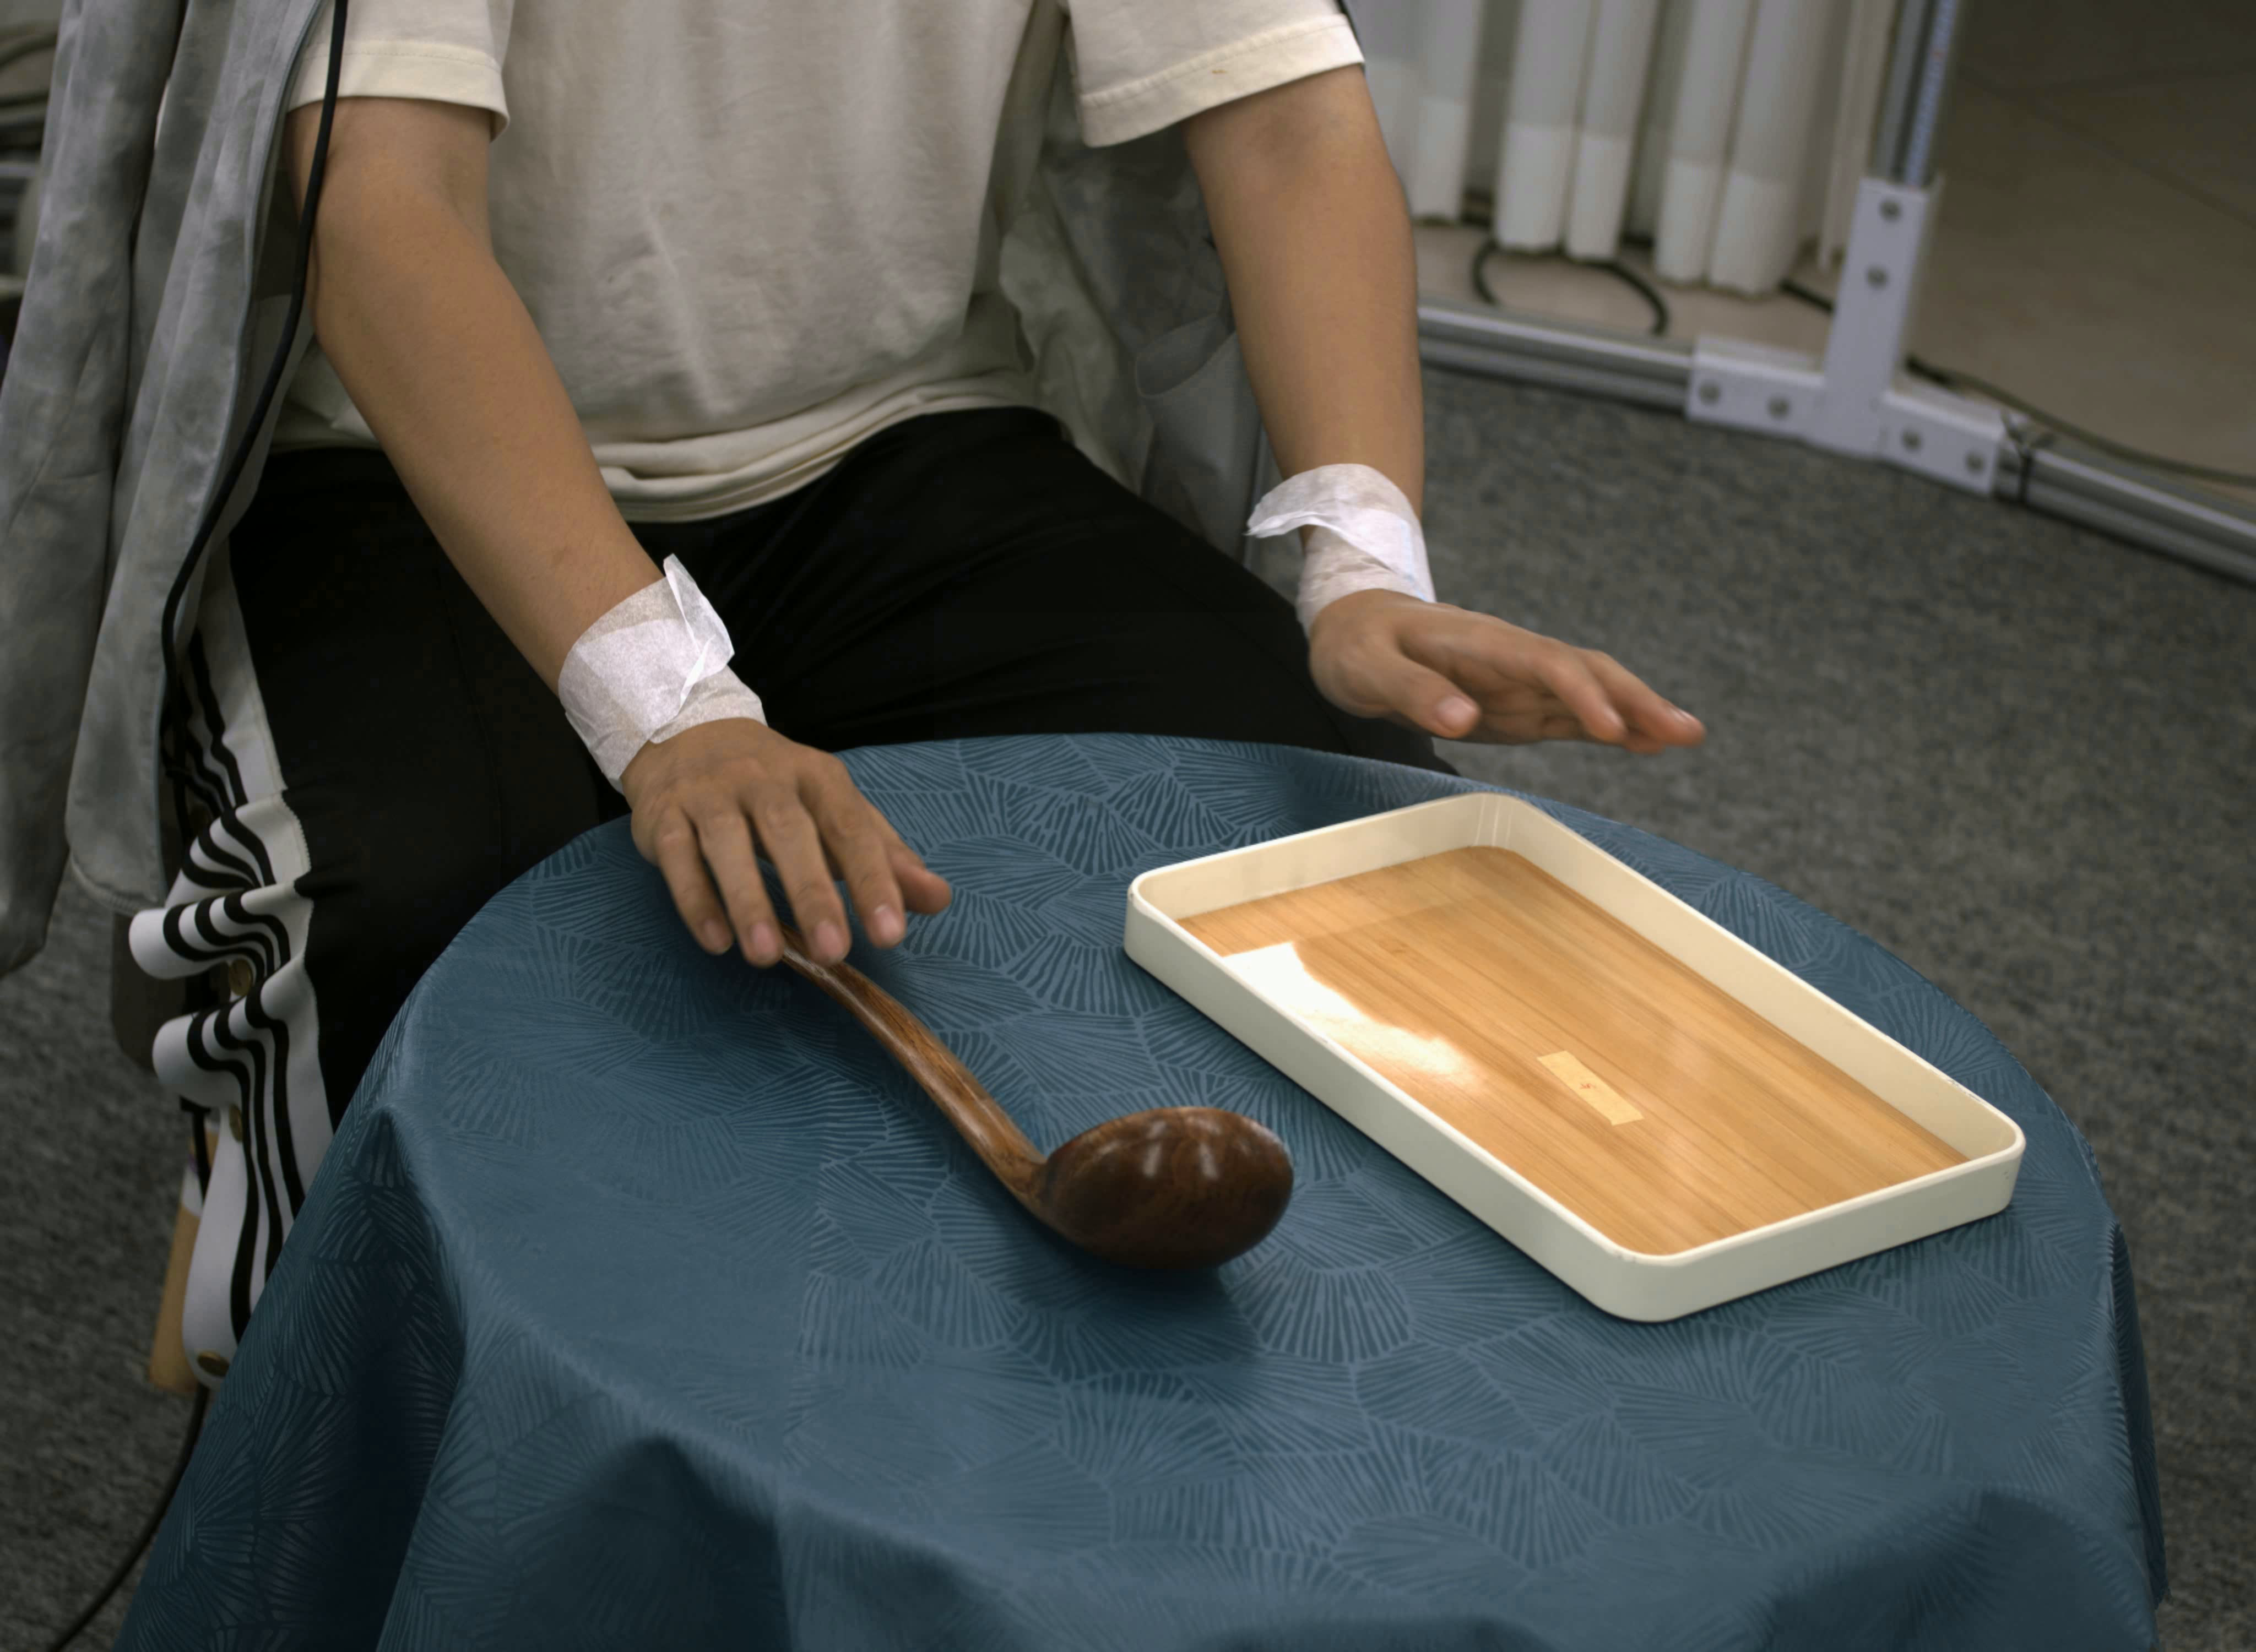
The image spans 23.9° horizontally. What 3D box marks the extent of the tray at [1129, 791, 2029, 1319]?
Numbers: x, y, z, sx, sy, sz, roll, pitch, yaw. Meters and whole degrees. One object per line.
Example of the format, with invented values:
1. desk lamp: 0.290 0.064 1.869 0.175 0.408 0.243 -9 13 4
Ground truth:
1. tray: 0.156 0.076 1.904 0.190 0.027 0.303 -13 33 -34

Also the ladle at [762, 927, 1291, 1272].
1. ladle: -0.040 0.074 1.818 0.081 0.076 0.276 37 3 -40
